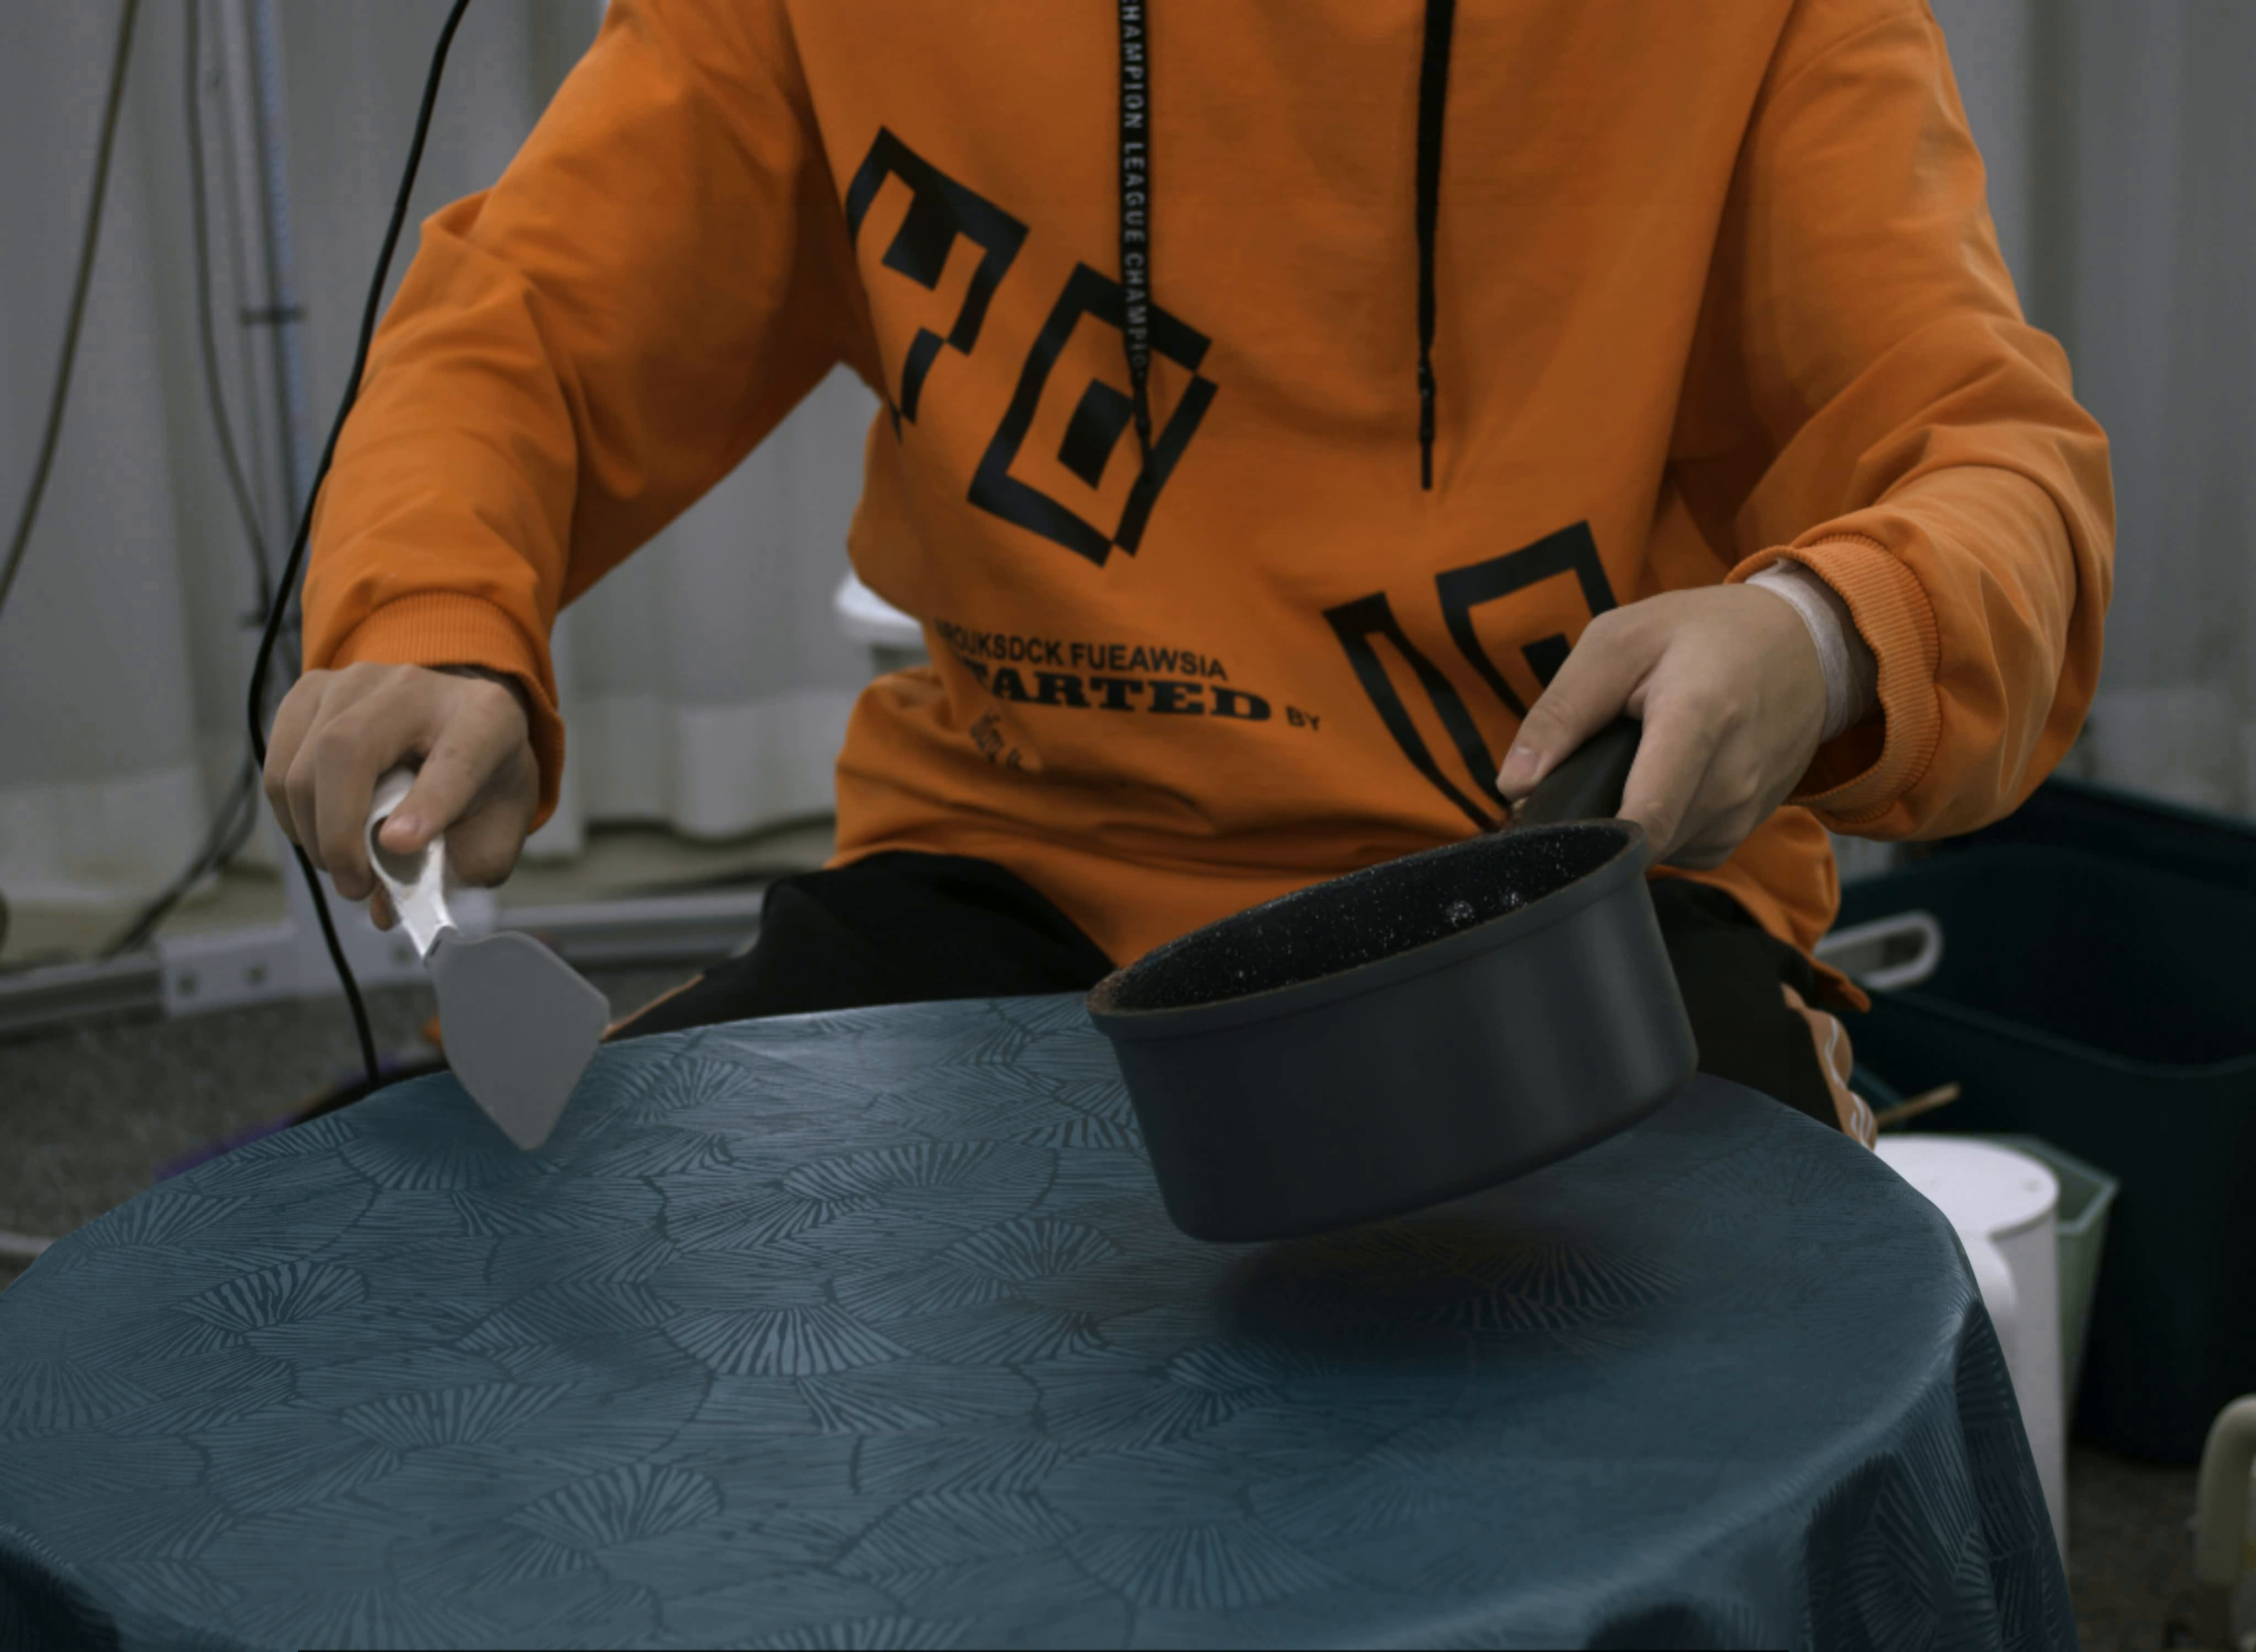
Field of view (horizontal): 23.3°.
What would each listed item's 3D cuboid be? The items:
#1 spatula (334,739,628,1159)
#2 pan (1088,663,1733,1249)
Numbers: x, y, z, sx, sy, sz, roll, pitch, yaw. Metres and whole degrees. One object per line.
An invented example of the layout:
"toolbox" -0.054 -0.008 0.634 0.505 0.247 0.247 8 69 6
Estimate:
"spatula" -0.210 0.030 1.726 0.032 0.058 0.290 35 4 -25
"pan" 0.116 0.036 1.667 0.172 0.086 0.329 -12 11 32
